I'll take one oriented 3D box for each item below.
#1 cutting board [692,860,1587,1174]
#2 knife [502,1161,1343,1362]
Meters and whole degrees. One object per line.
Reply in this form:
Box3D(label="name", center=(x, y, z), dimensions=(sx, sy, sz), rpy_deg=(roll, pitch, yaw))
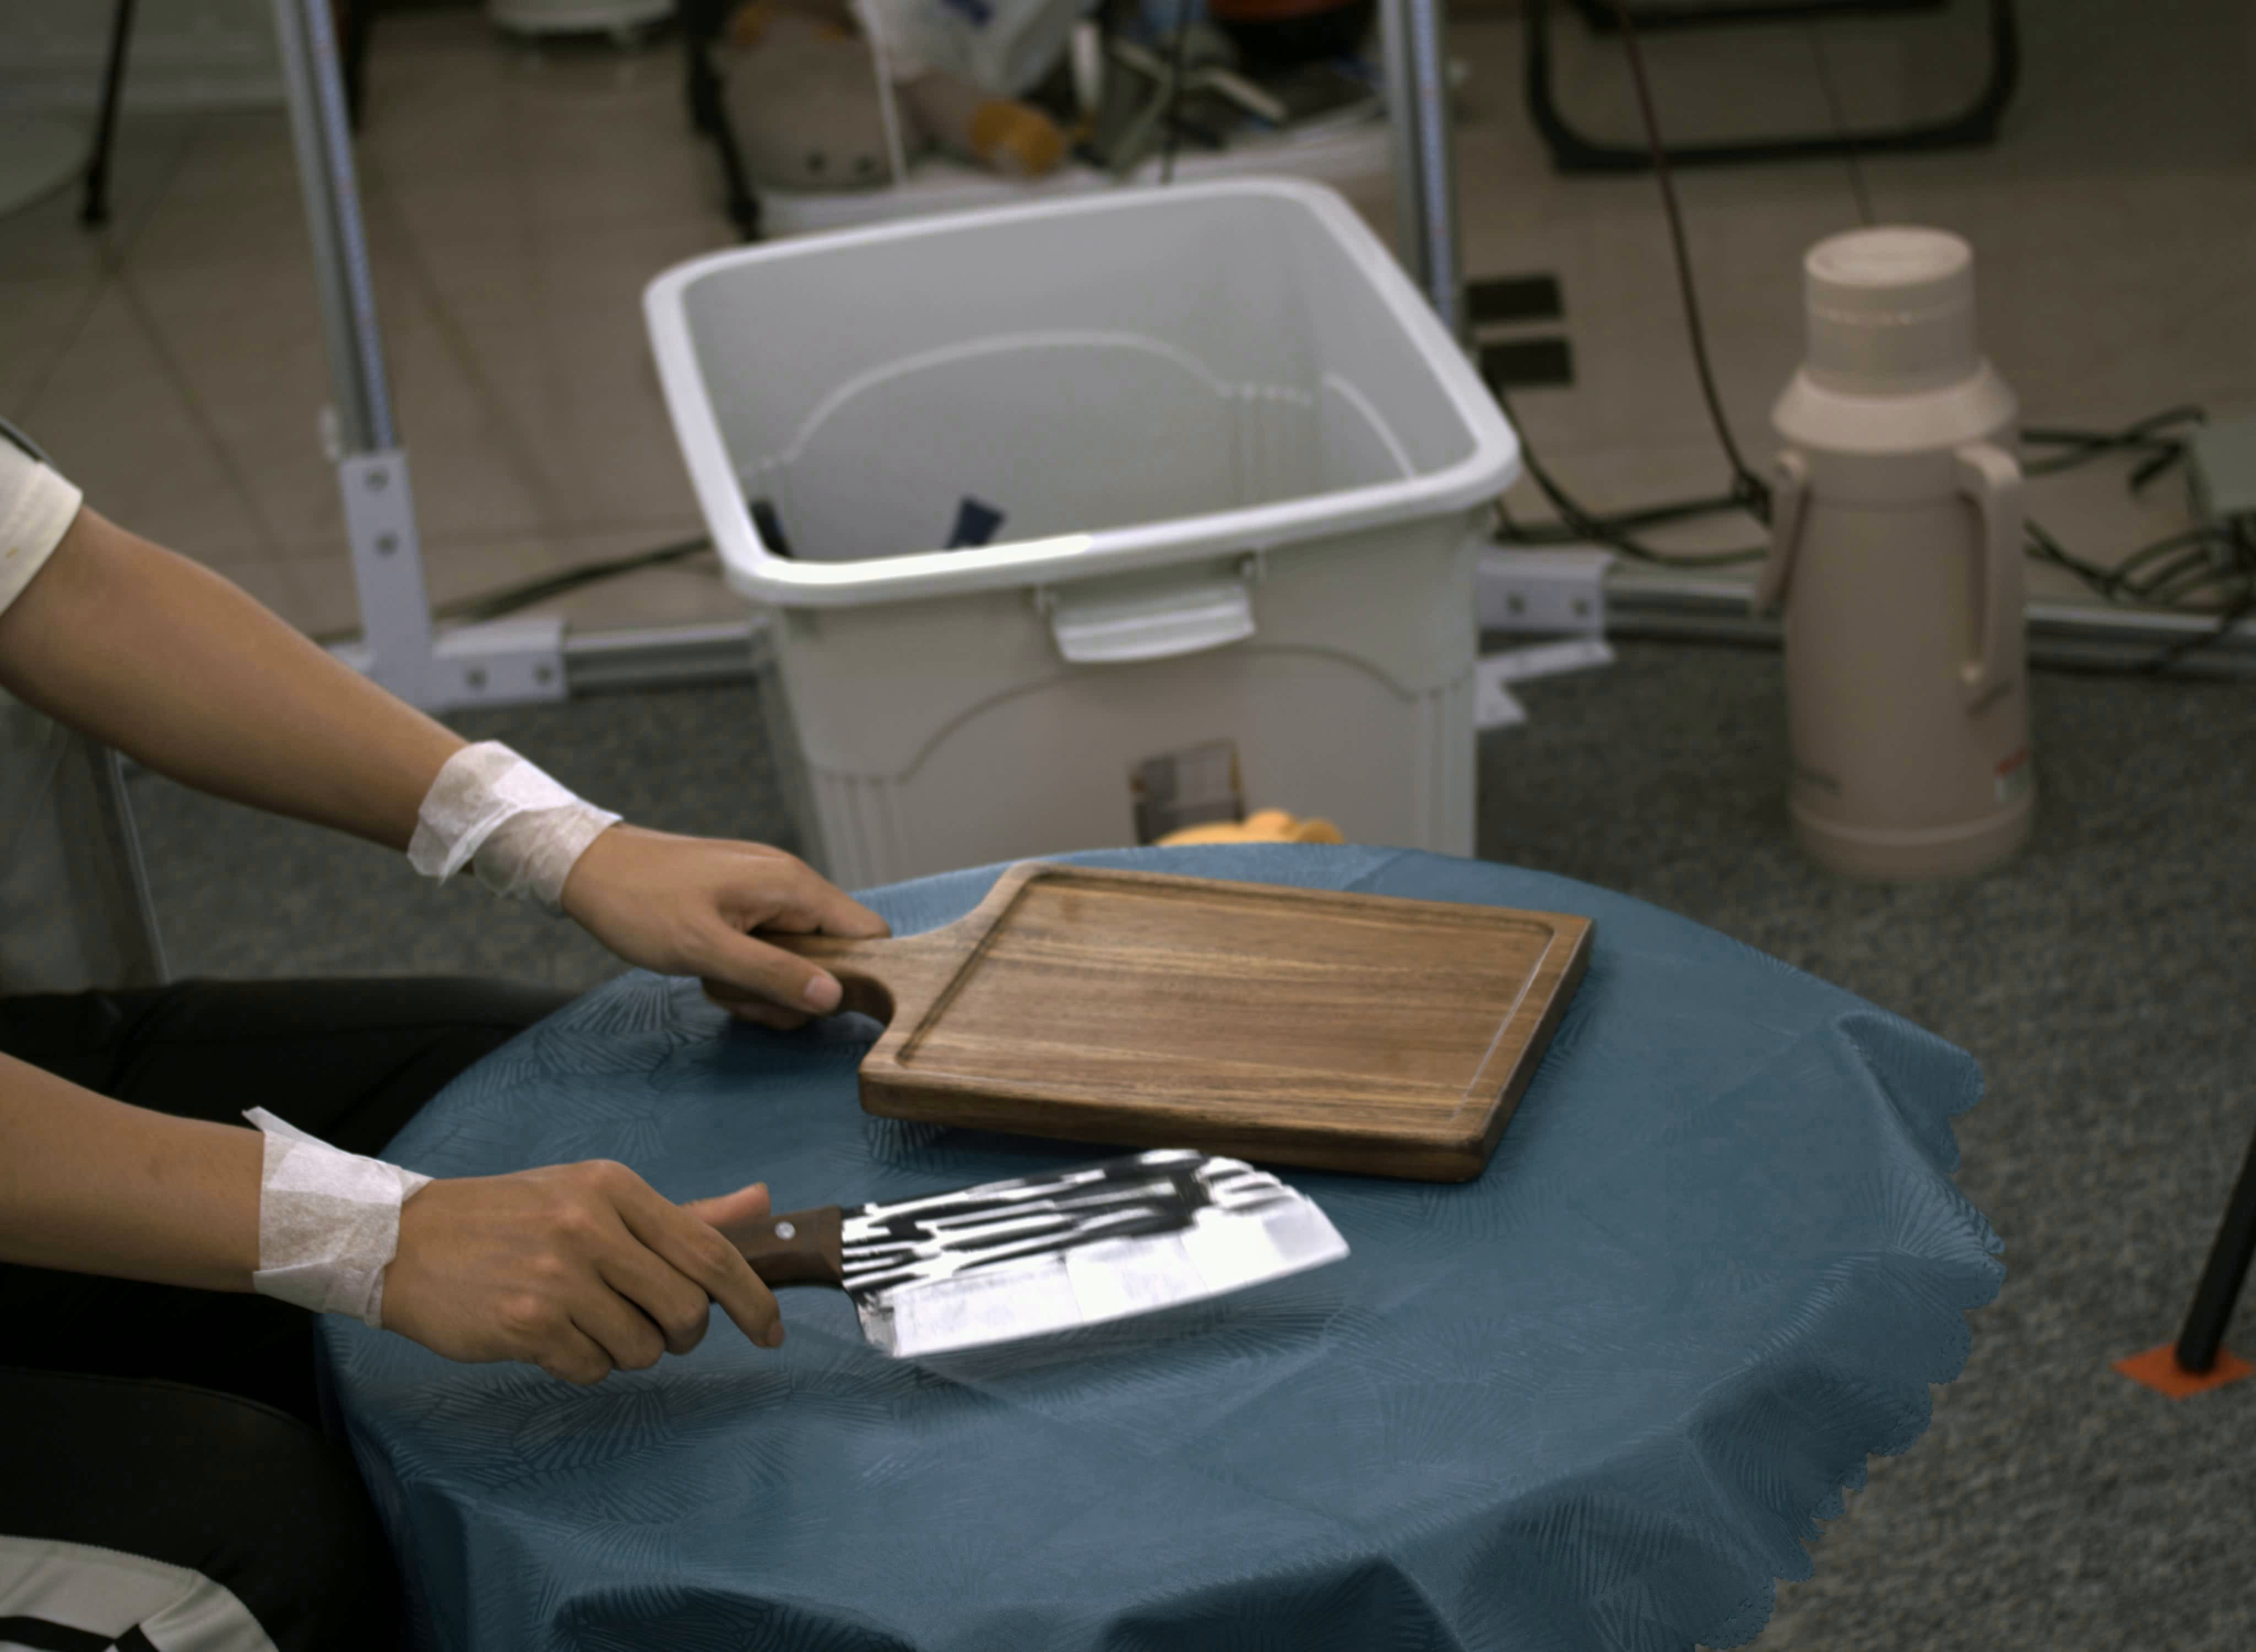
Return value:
Box3D(label="cutting board", center=(-0.007, 0.068, 2.253), dimensions=(0.351, 0.023, 0.198), rpy_deg=(5, 27, 16))
Box3D(label="knife", center=(-0.073, 0.160, 2.034), dimensions=(0.299, 0.024, 0.067), rpy_deg=(-8, 53, -7))
